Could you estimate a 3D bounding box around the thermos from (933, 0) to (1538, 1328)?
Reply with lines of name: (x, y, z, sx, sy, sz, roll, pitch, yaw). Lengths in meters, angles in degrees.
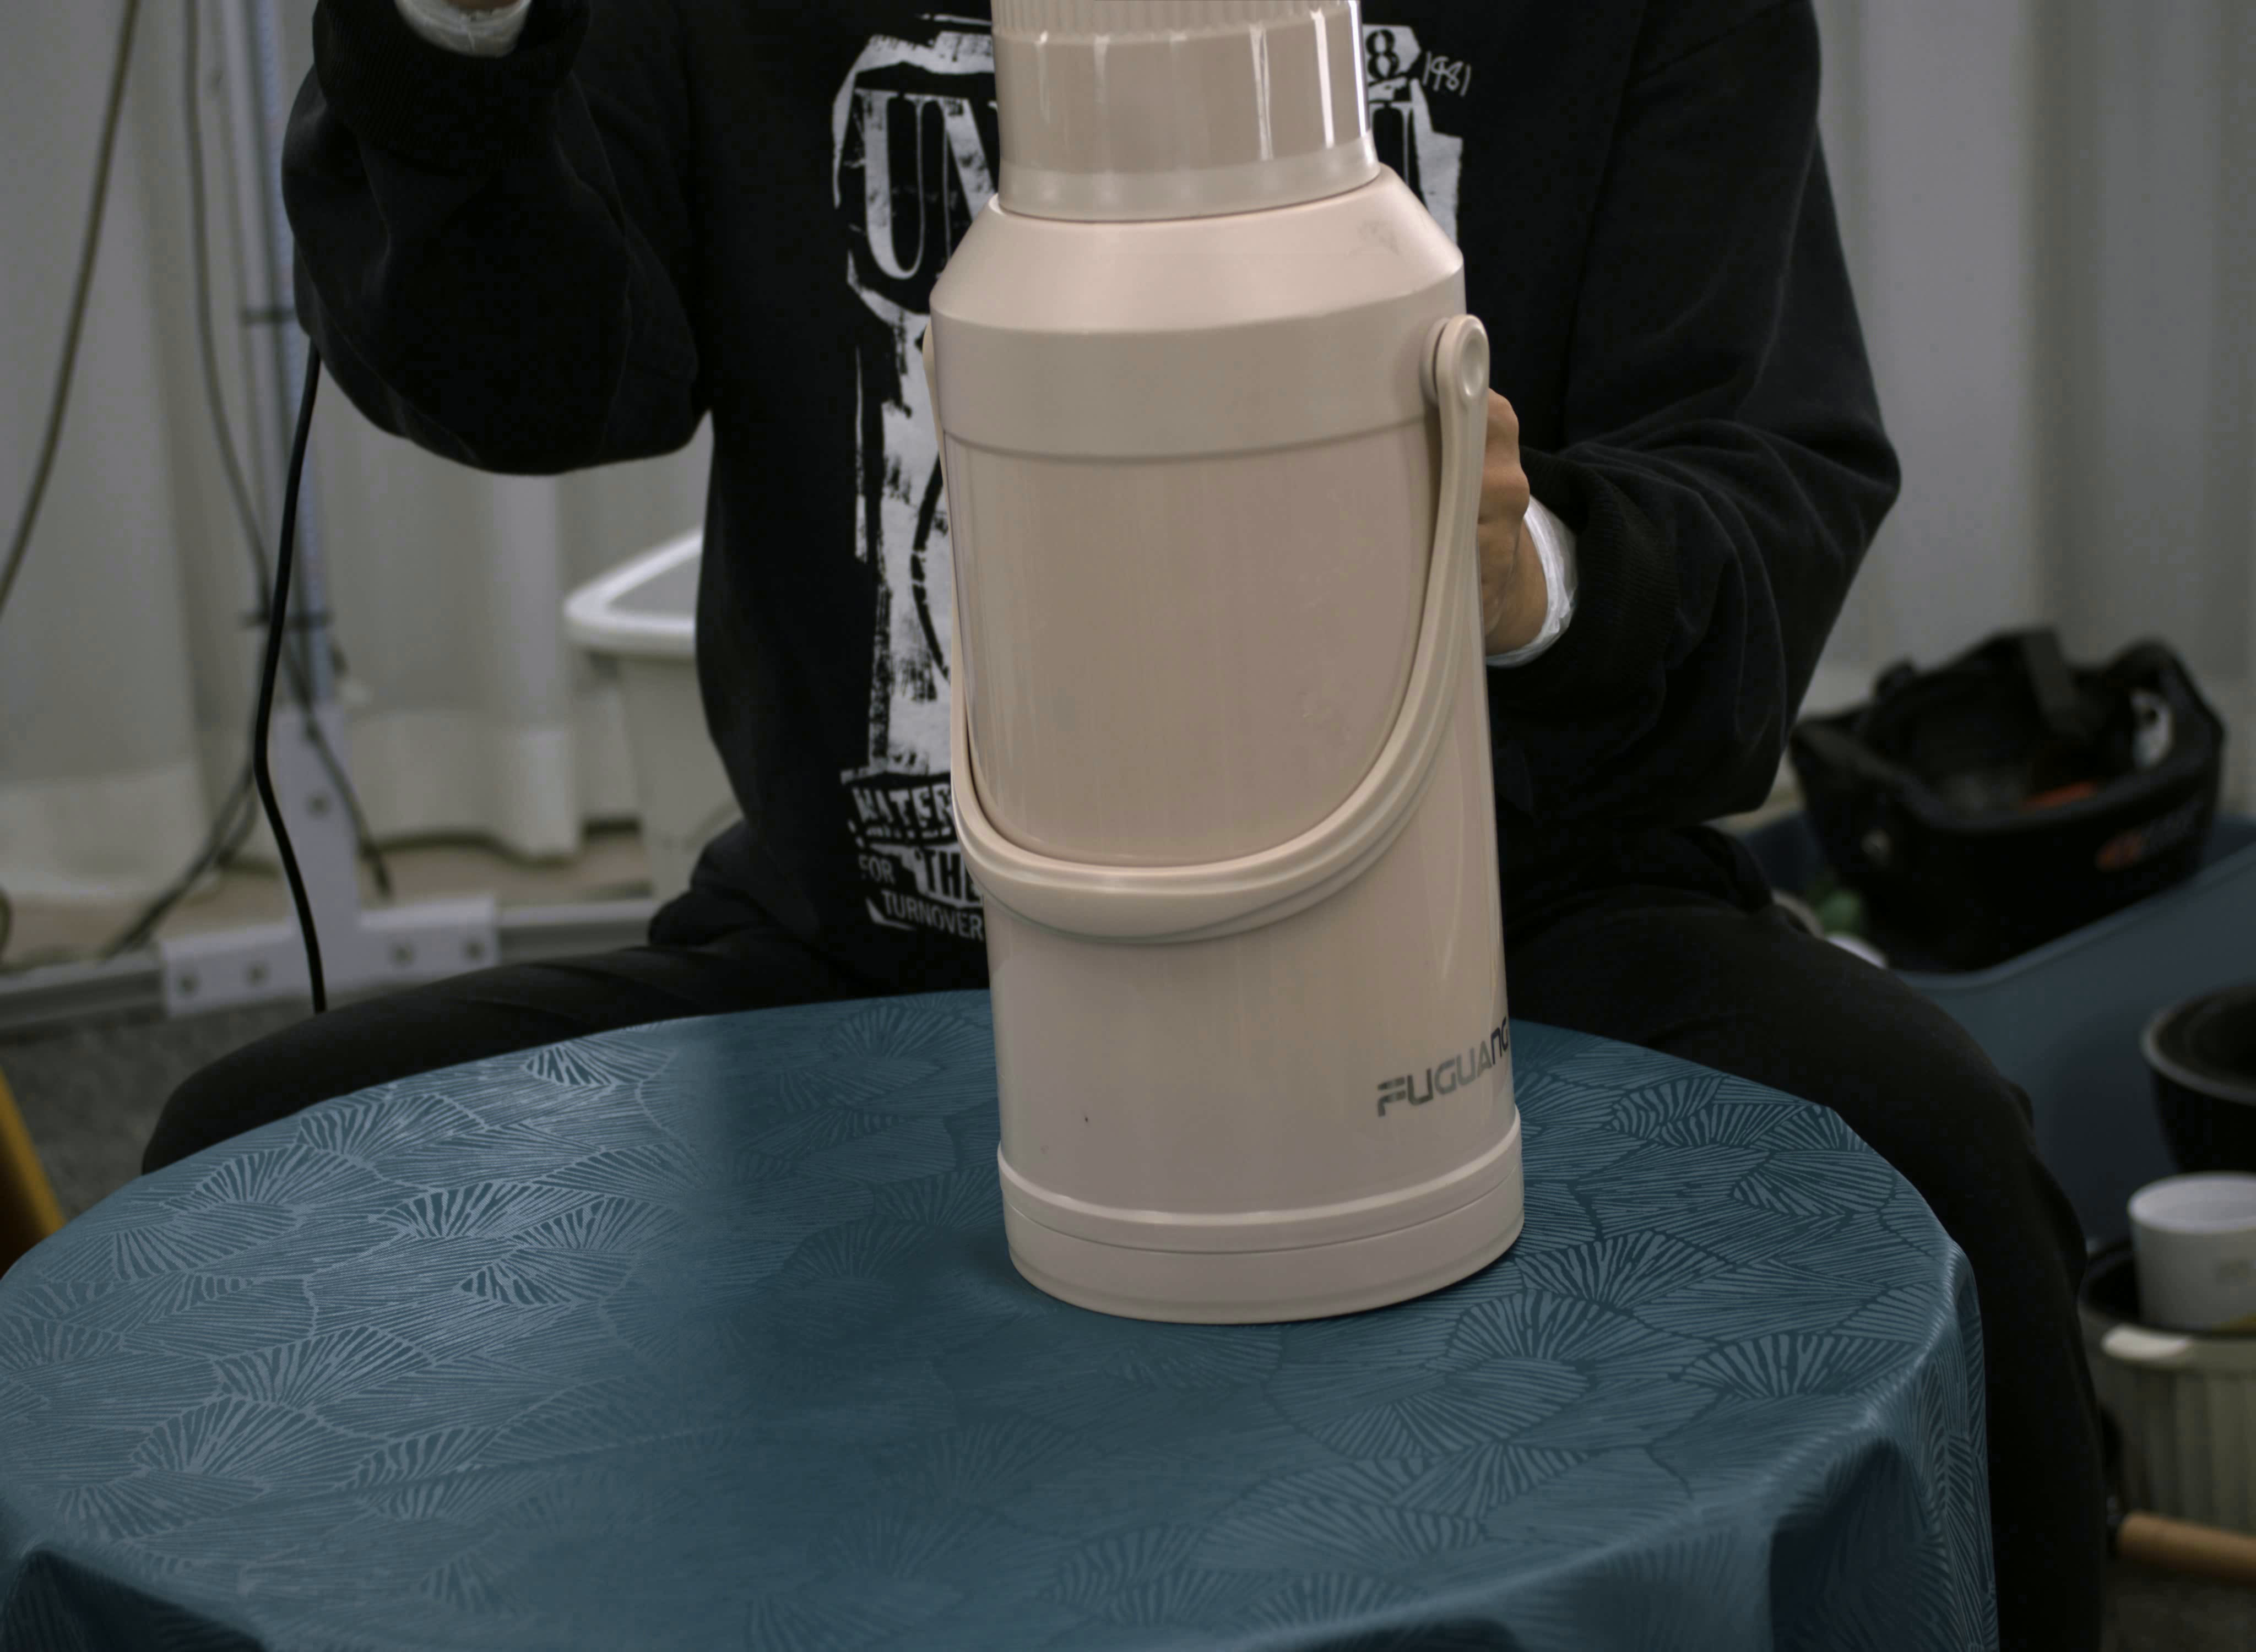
thermos: (0.038, -0.070, 1.628, 0.175, 0.405, 0.207, 2, 16, 28)
